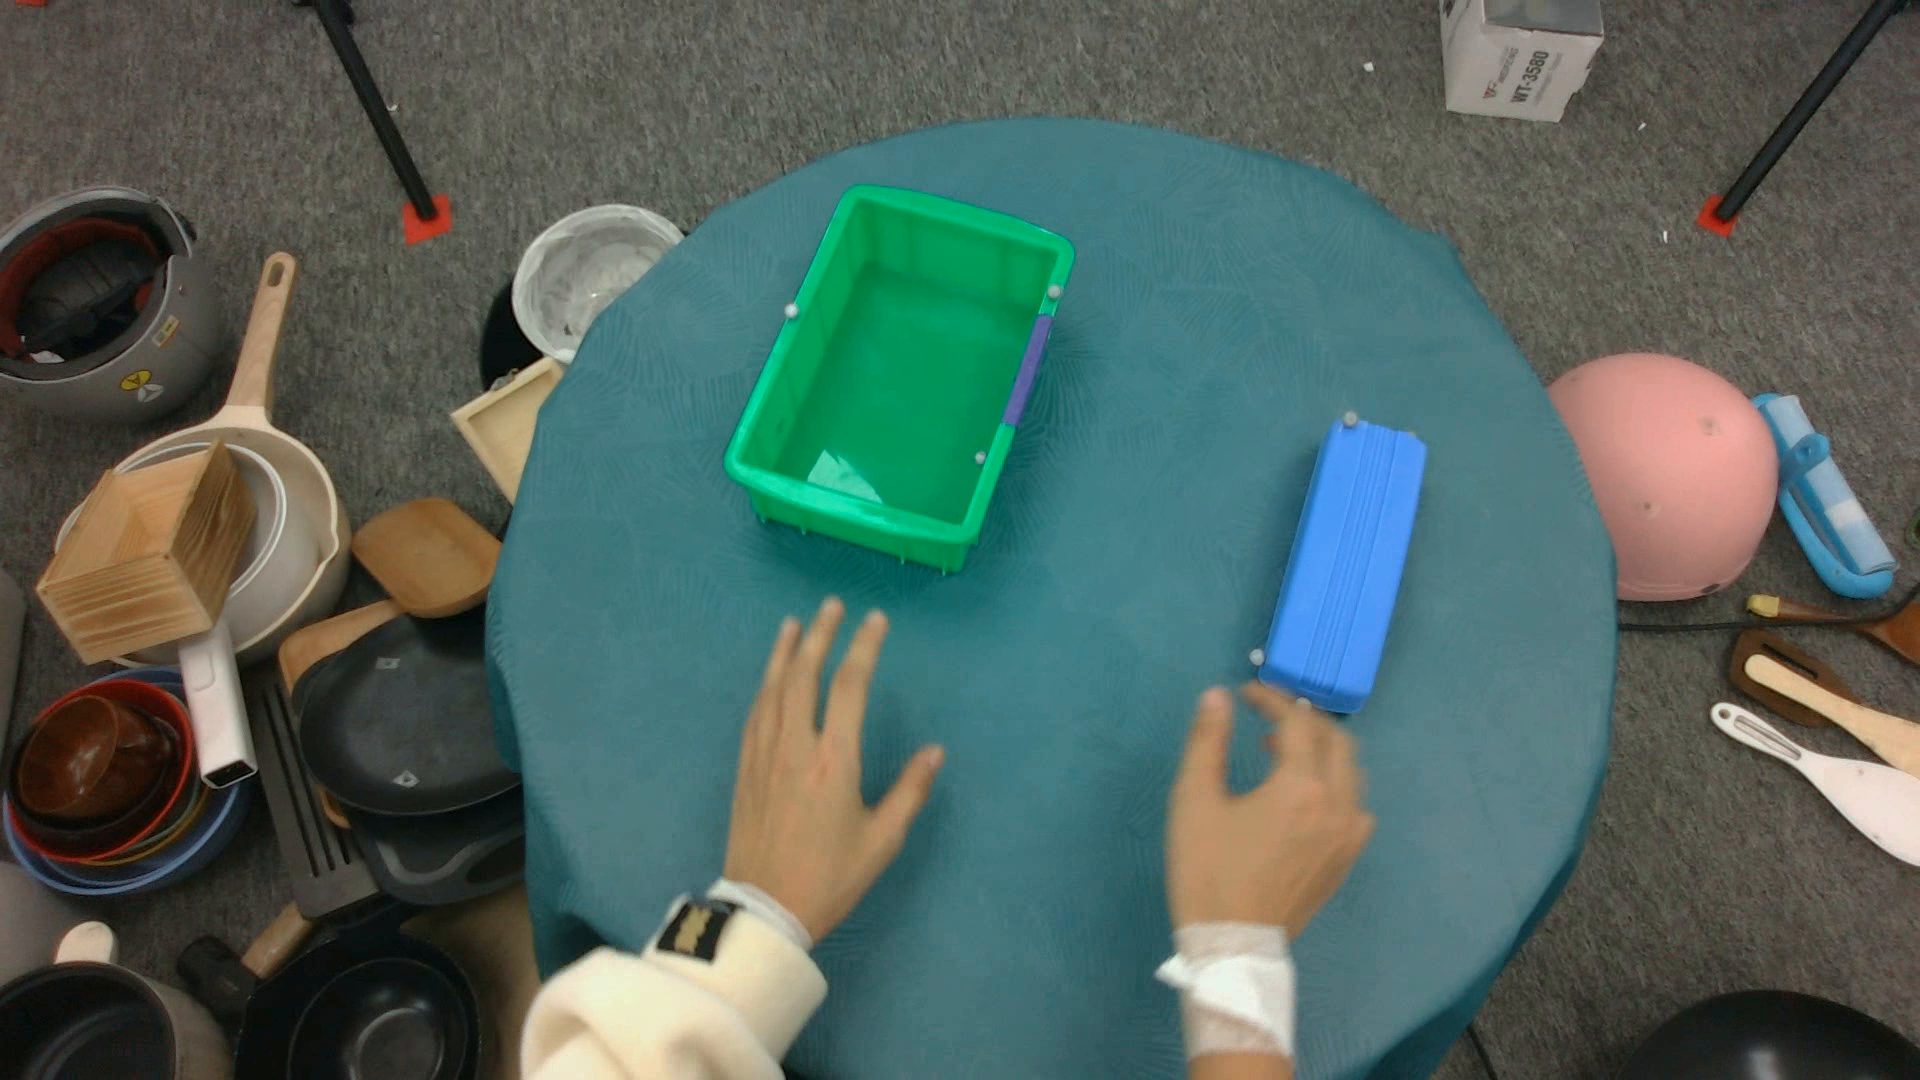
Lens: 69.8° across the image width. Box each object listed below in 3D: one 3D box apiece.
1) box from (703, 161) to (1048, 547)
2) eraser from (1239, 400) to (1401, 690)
[{"bbox_3d":[-0.042,-0.101,0.758,0.138,0.065,0.211,16,64,4],"label":"box"},{"bbox_3d":[0.192,-0.002,0.725,0.054,0.047,0.163,17,64,7],"label":"eraser"}]
